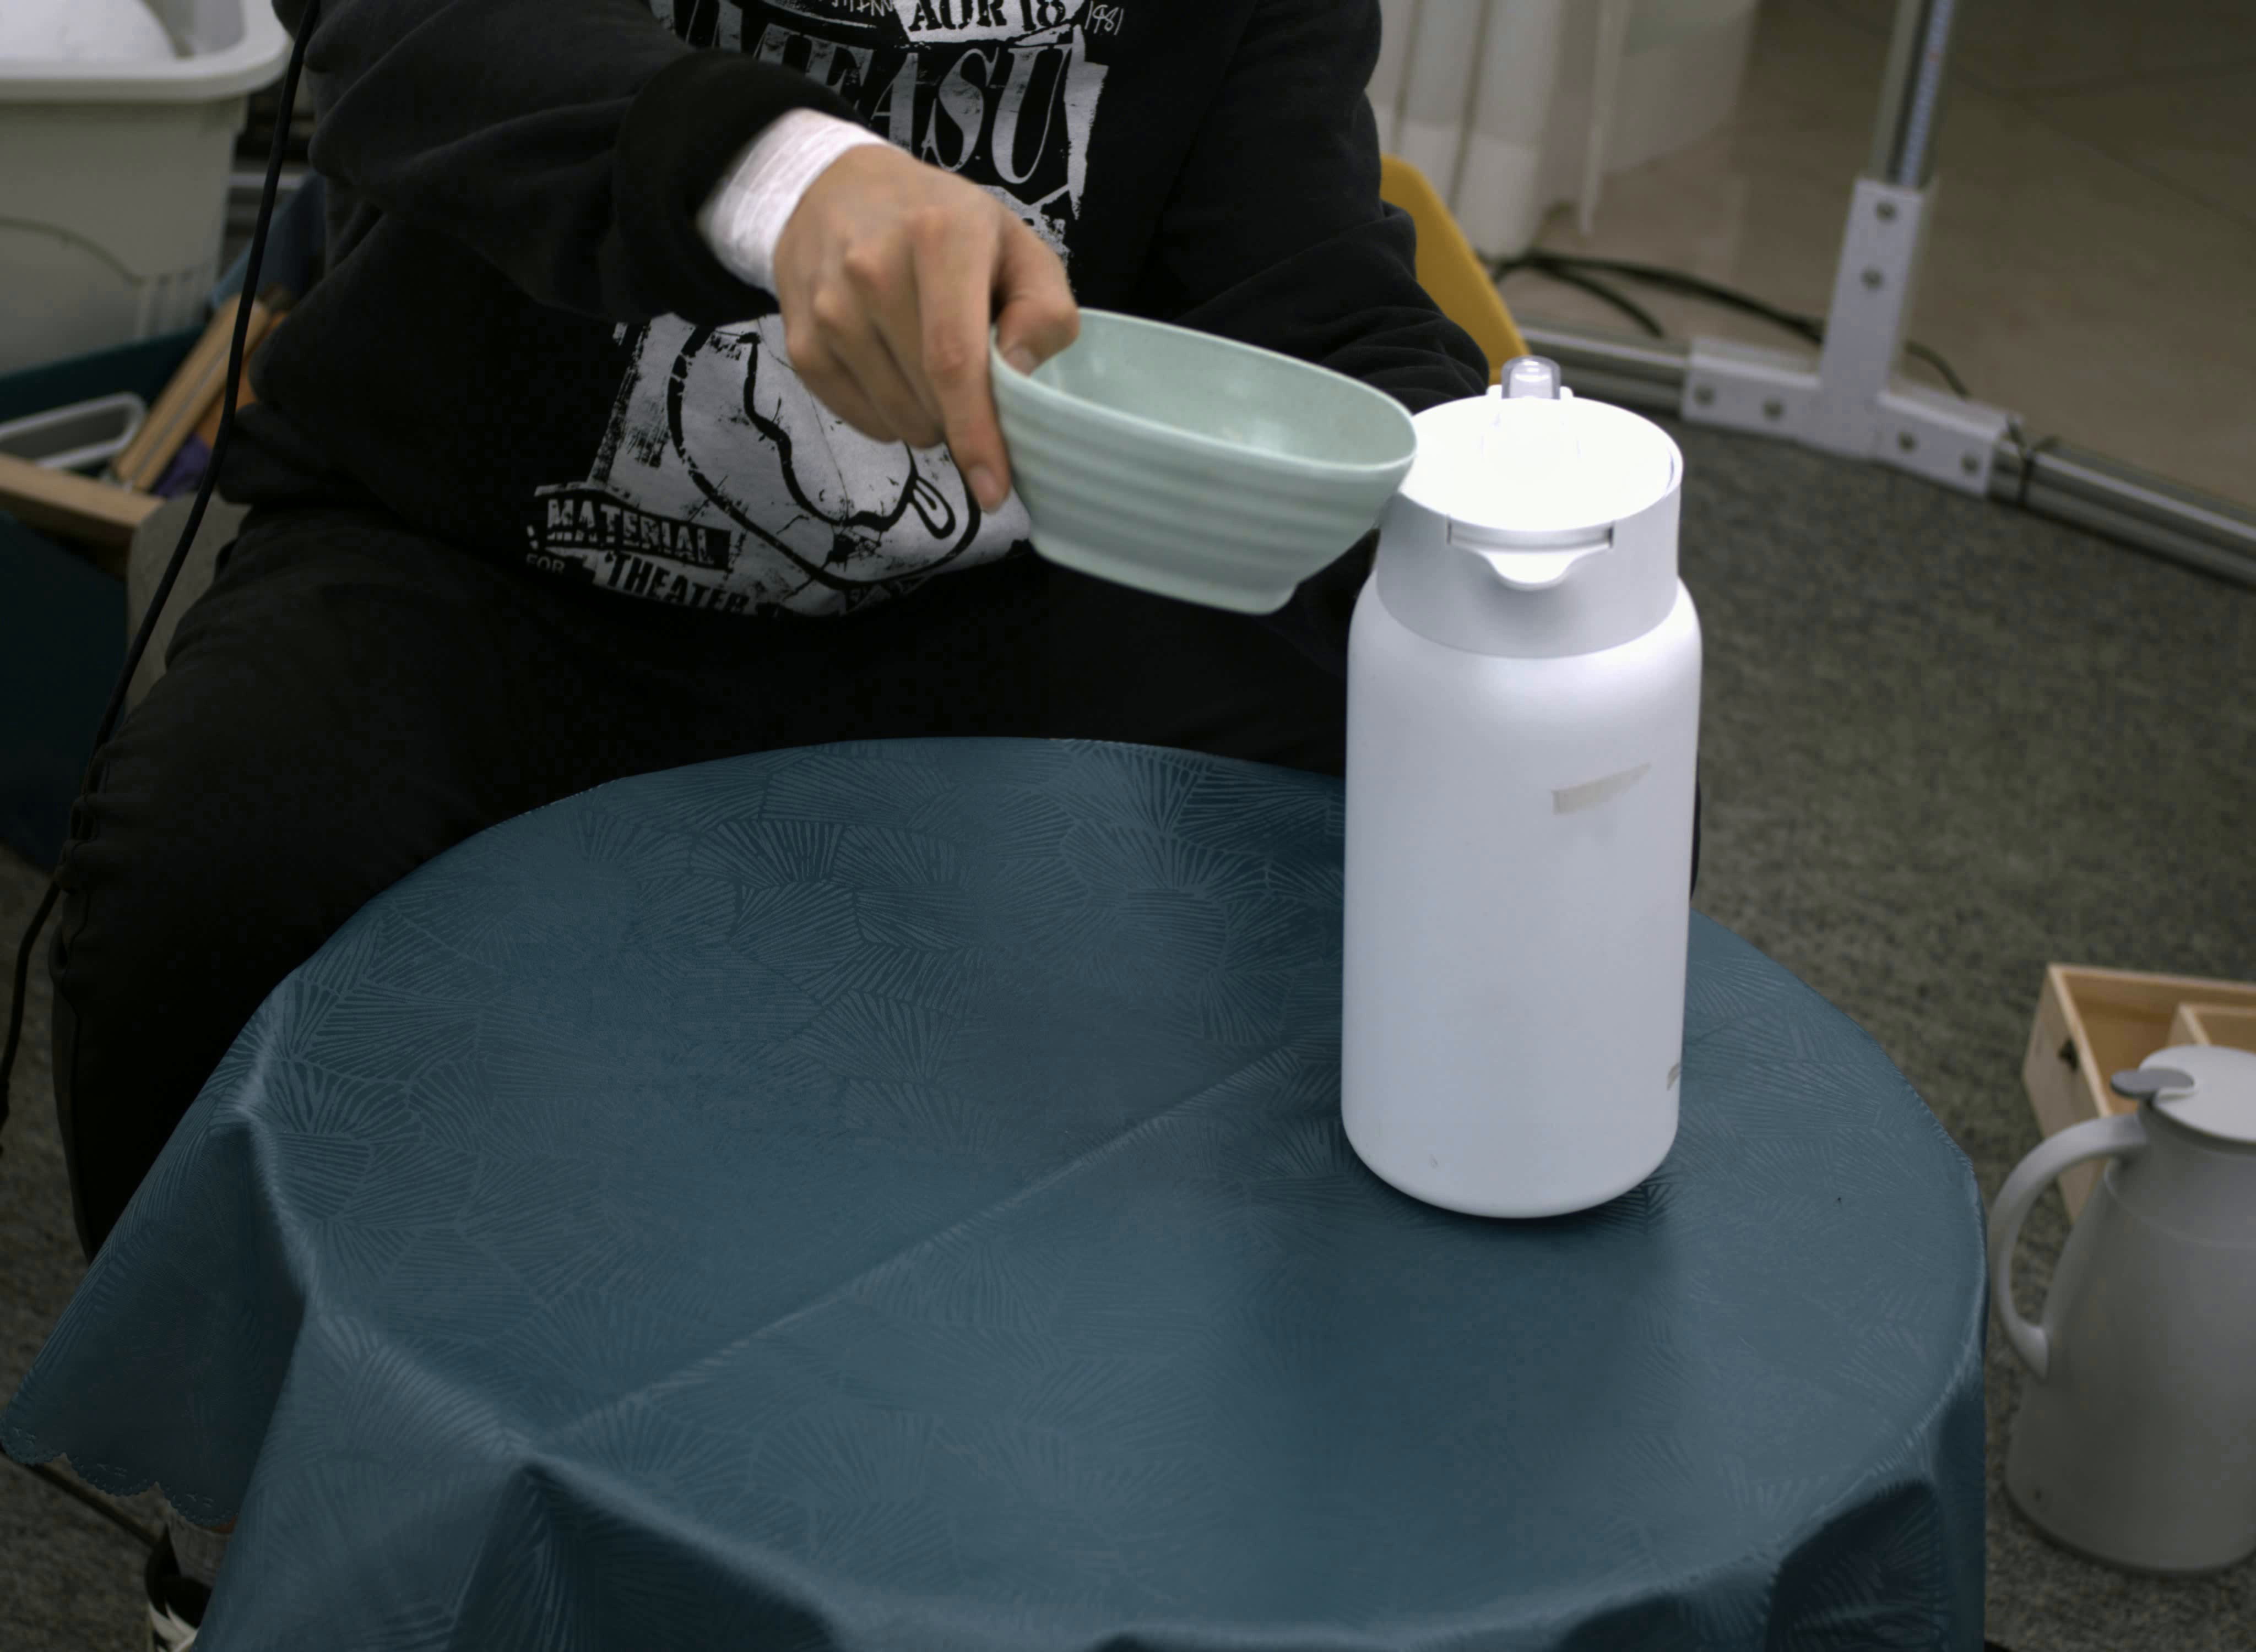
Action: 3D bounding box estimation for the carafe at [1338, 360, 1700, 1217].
[{"bbox_3d":[0.130,-0.016,1.802,0.123,0.267,0.174,-1,30,3],"label":"carafe"}]

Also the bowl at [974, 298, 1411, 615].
[{"bbox_3d":[0.014,-0.111,1.652,0.151,0.058,0.152,13,19,-5],"label":"bowl"}]
